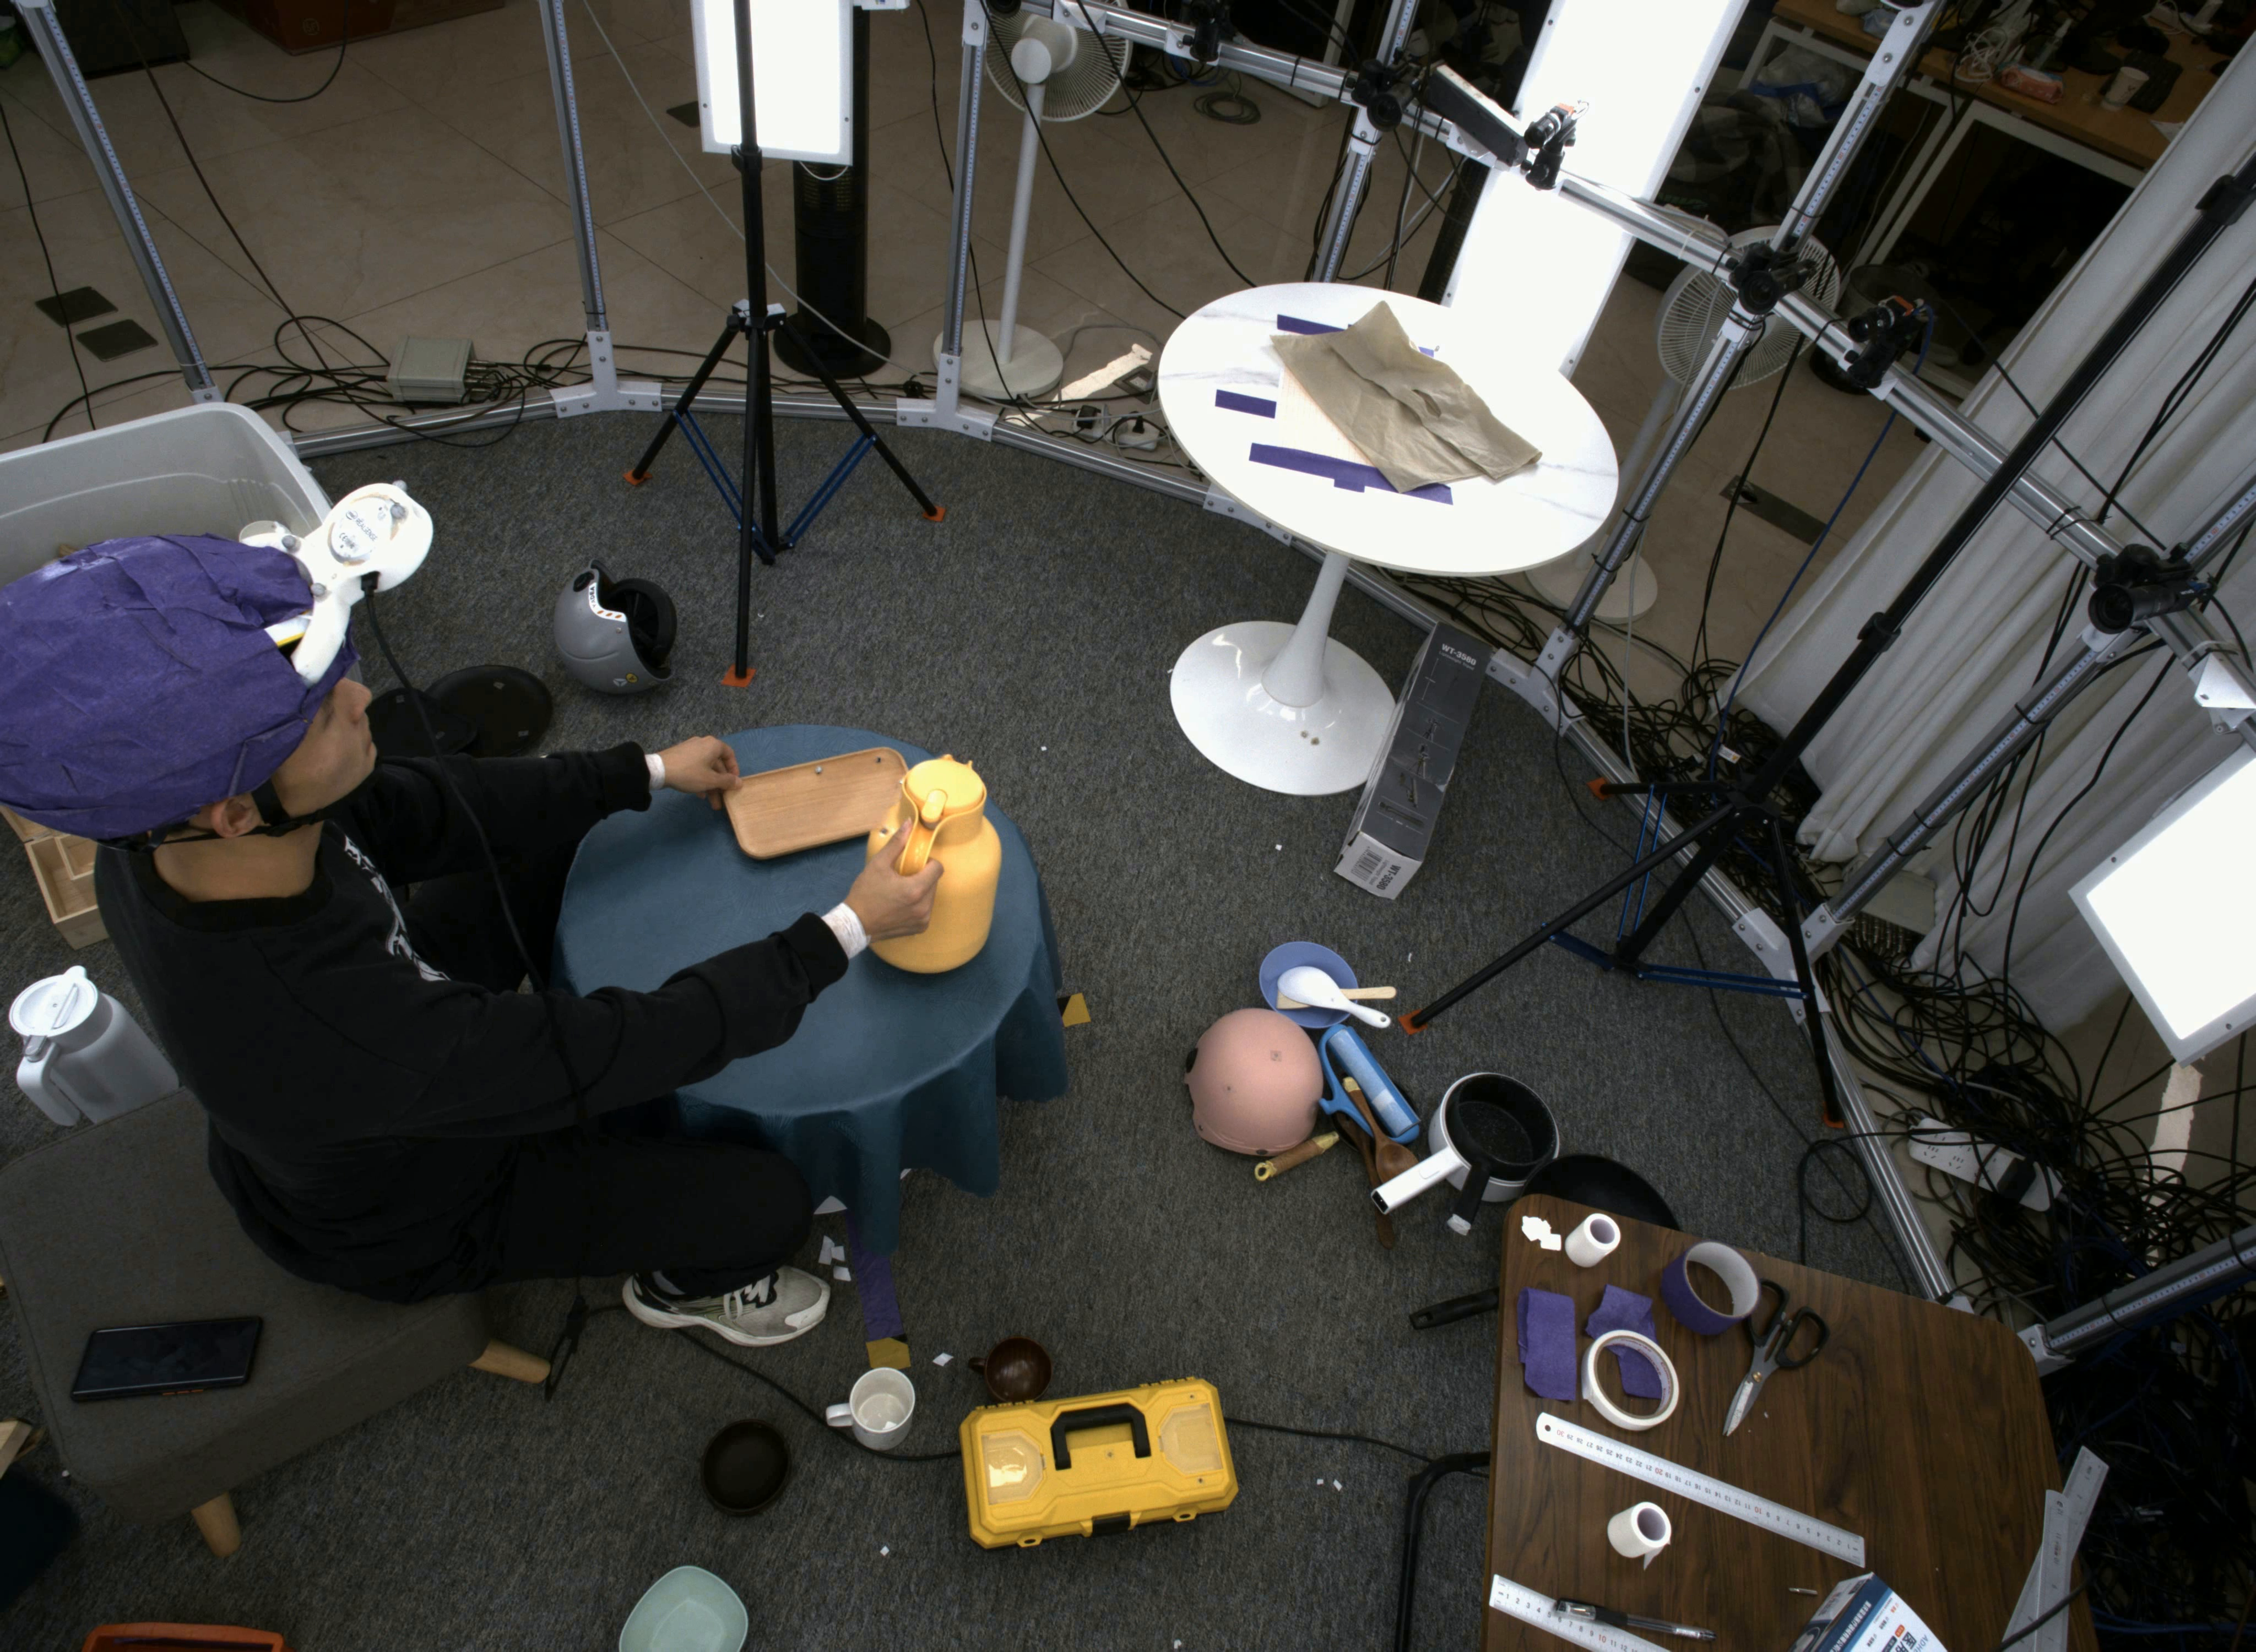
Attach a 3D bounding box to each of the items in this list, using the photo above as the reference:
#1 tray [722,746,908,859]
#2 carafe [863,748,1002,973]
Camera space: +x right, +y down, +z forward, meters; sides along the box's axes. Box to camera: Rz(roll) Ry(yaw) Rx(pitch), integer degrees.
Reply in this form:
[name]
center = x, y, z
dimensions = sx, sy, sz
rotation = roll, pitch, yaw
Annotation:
[tray]
center = -0.406, -0.033, 1.728
dimensions = 0.252, 0.023, 0.127
rotation = -14, 62, -26
[carafe]
center = -0.238, 0.049, 1.548
dimensions = 0.161, 0.267, 0.200
rotation = 15, 38, 4
